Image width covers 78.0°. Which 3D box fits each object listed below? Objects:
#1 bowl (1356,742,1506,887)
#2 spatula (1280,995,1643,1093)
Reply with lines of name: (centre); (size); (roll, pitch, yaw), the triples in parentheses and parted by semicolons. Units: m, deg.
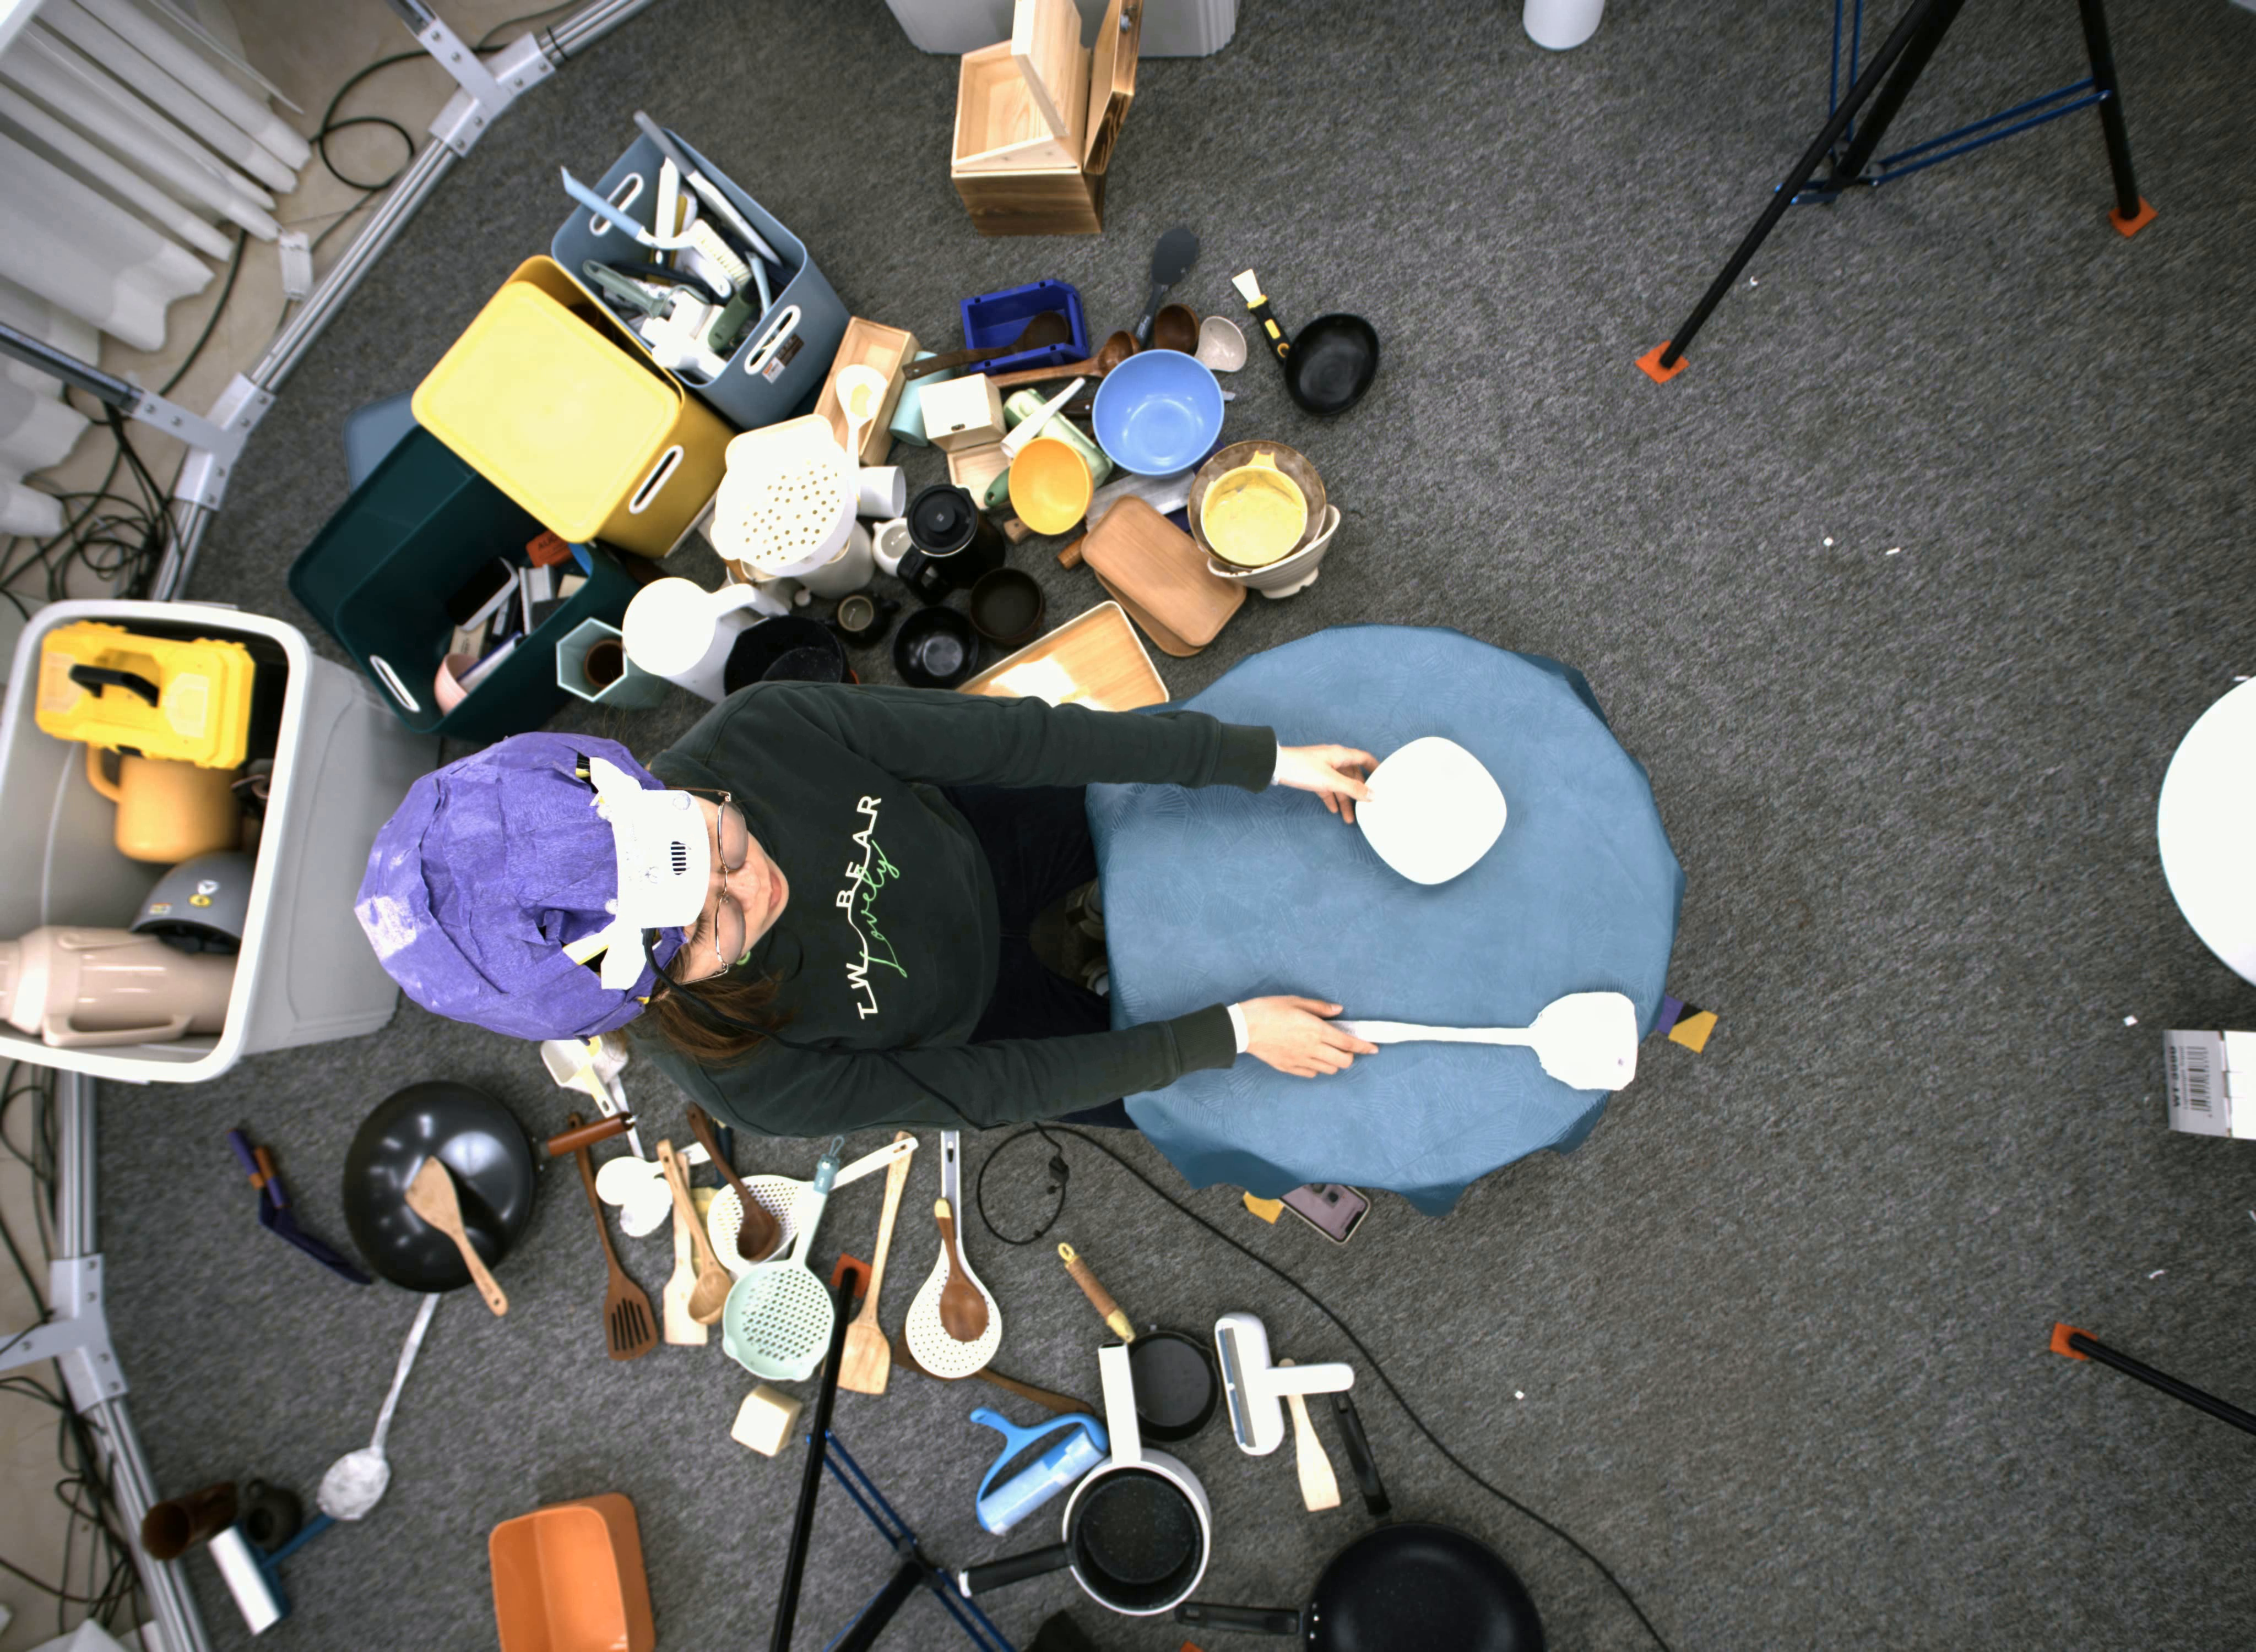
bowl: (0.314, -0.010, 1.436); (0.152, 0.059, 0.150); (-1, 84, 9)
spatula: (0.337, 0.212, 1.423); (0.366, 0.045, 0.098); (2, 88, 10)
